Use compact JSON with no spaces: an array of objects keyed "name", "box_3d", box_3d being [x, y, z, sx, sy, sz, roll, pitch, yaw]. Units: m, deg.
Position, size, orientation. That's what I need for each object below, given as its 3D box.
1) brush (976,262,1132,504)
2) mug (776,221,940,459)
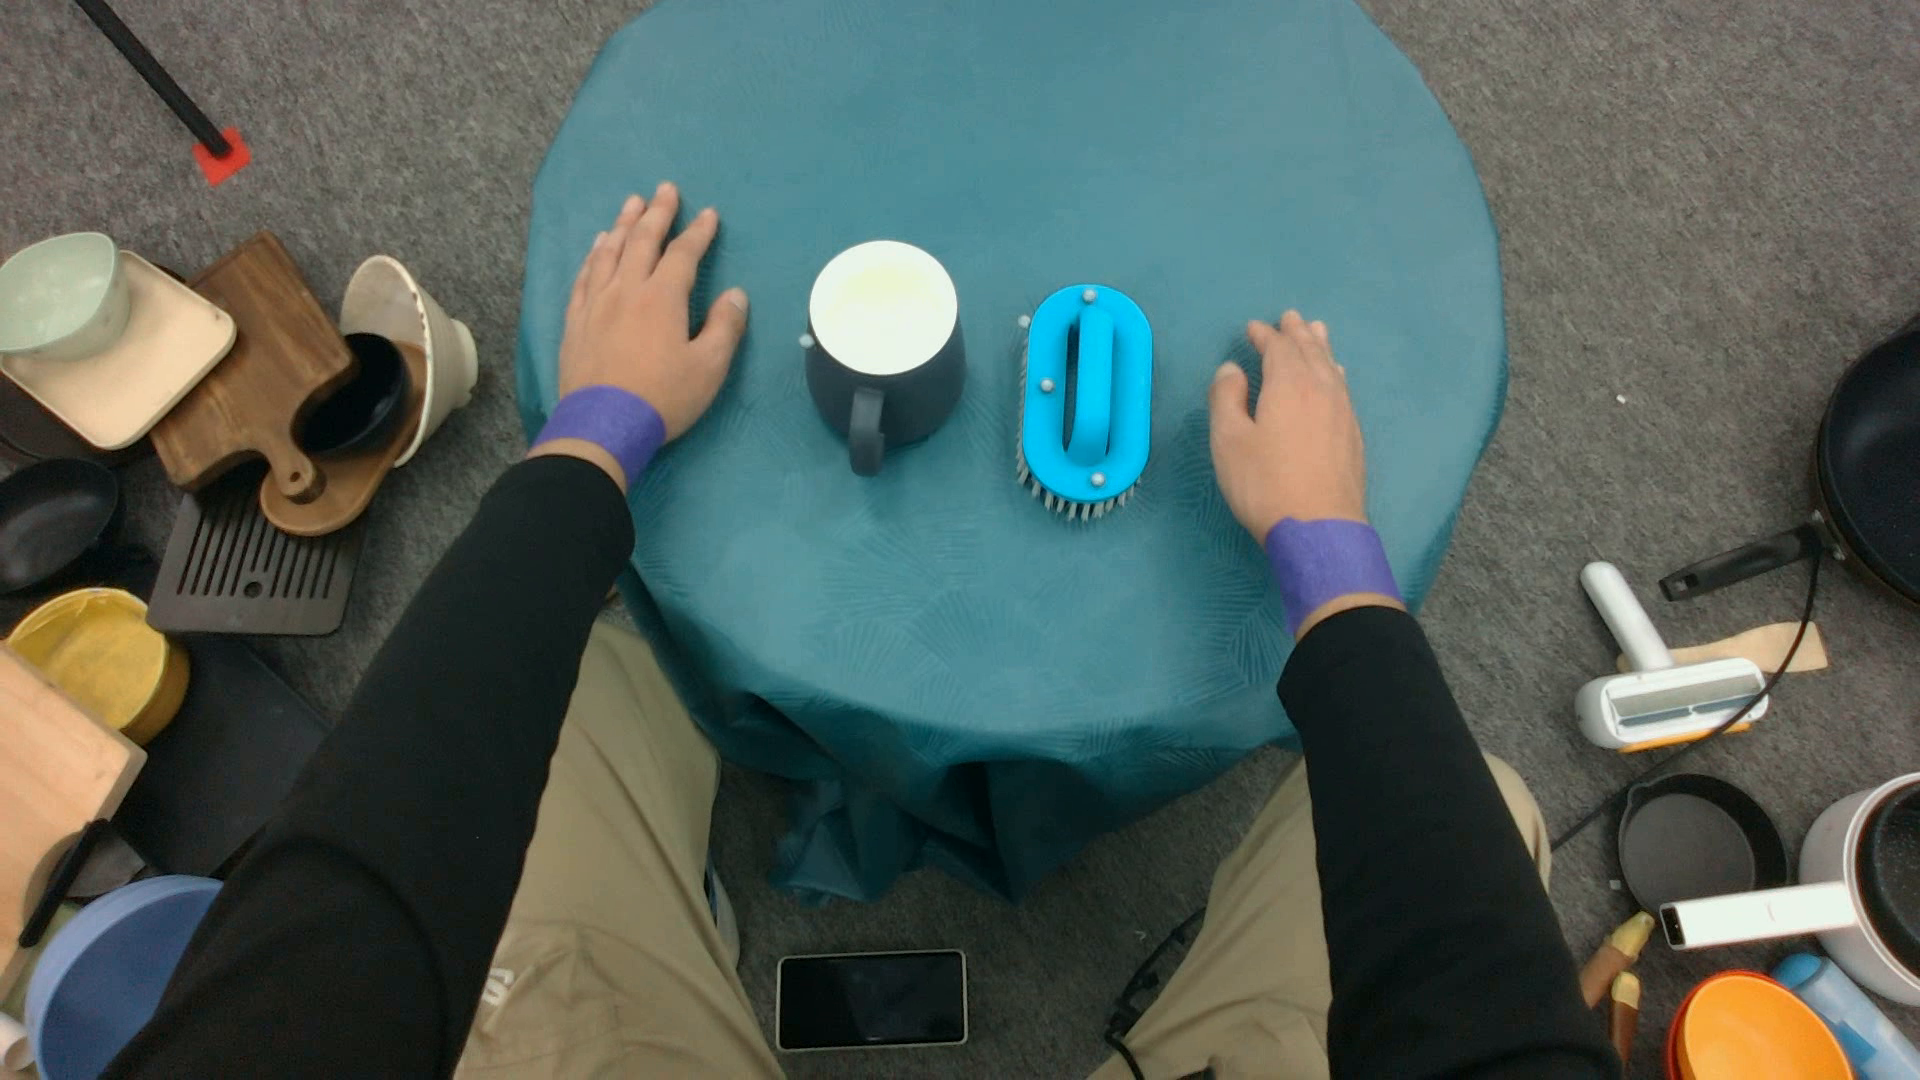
[{"name":"brush","box_3d":[0.056,-0.095,0.782,0.084,0.063,0.142,7,71,-6]},{"name":"mug","box_3d":[-0.060,-0.105,0.763,0.093,0.089,0.123,10,69,1]}]
